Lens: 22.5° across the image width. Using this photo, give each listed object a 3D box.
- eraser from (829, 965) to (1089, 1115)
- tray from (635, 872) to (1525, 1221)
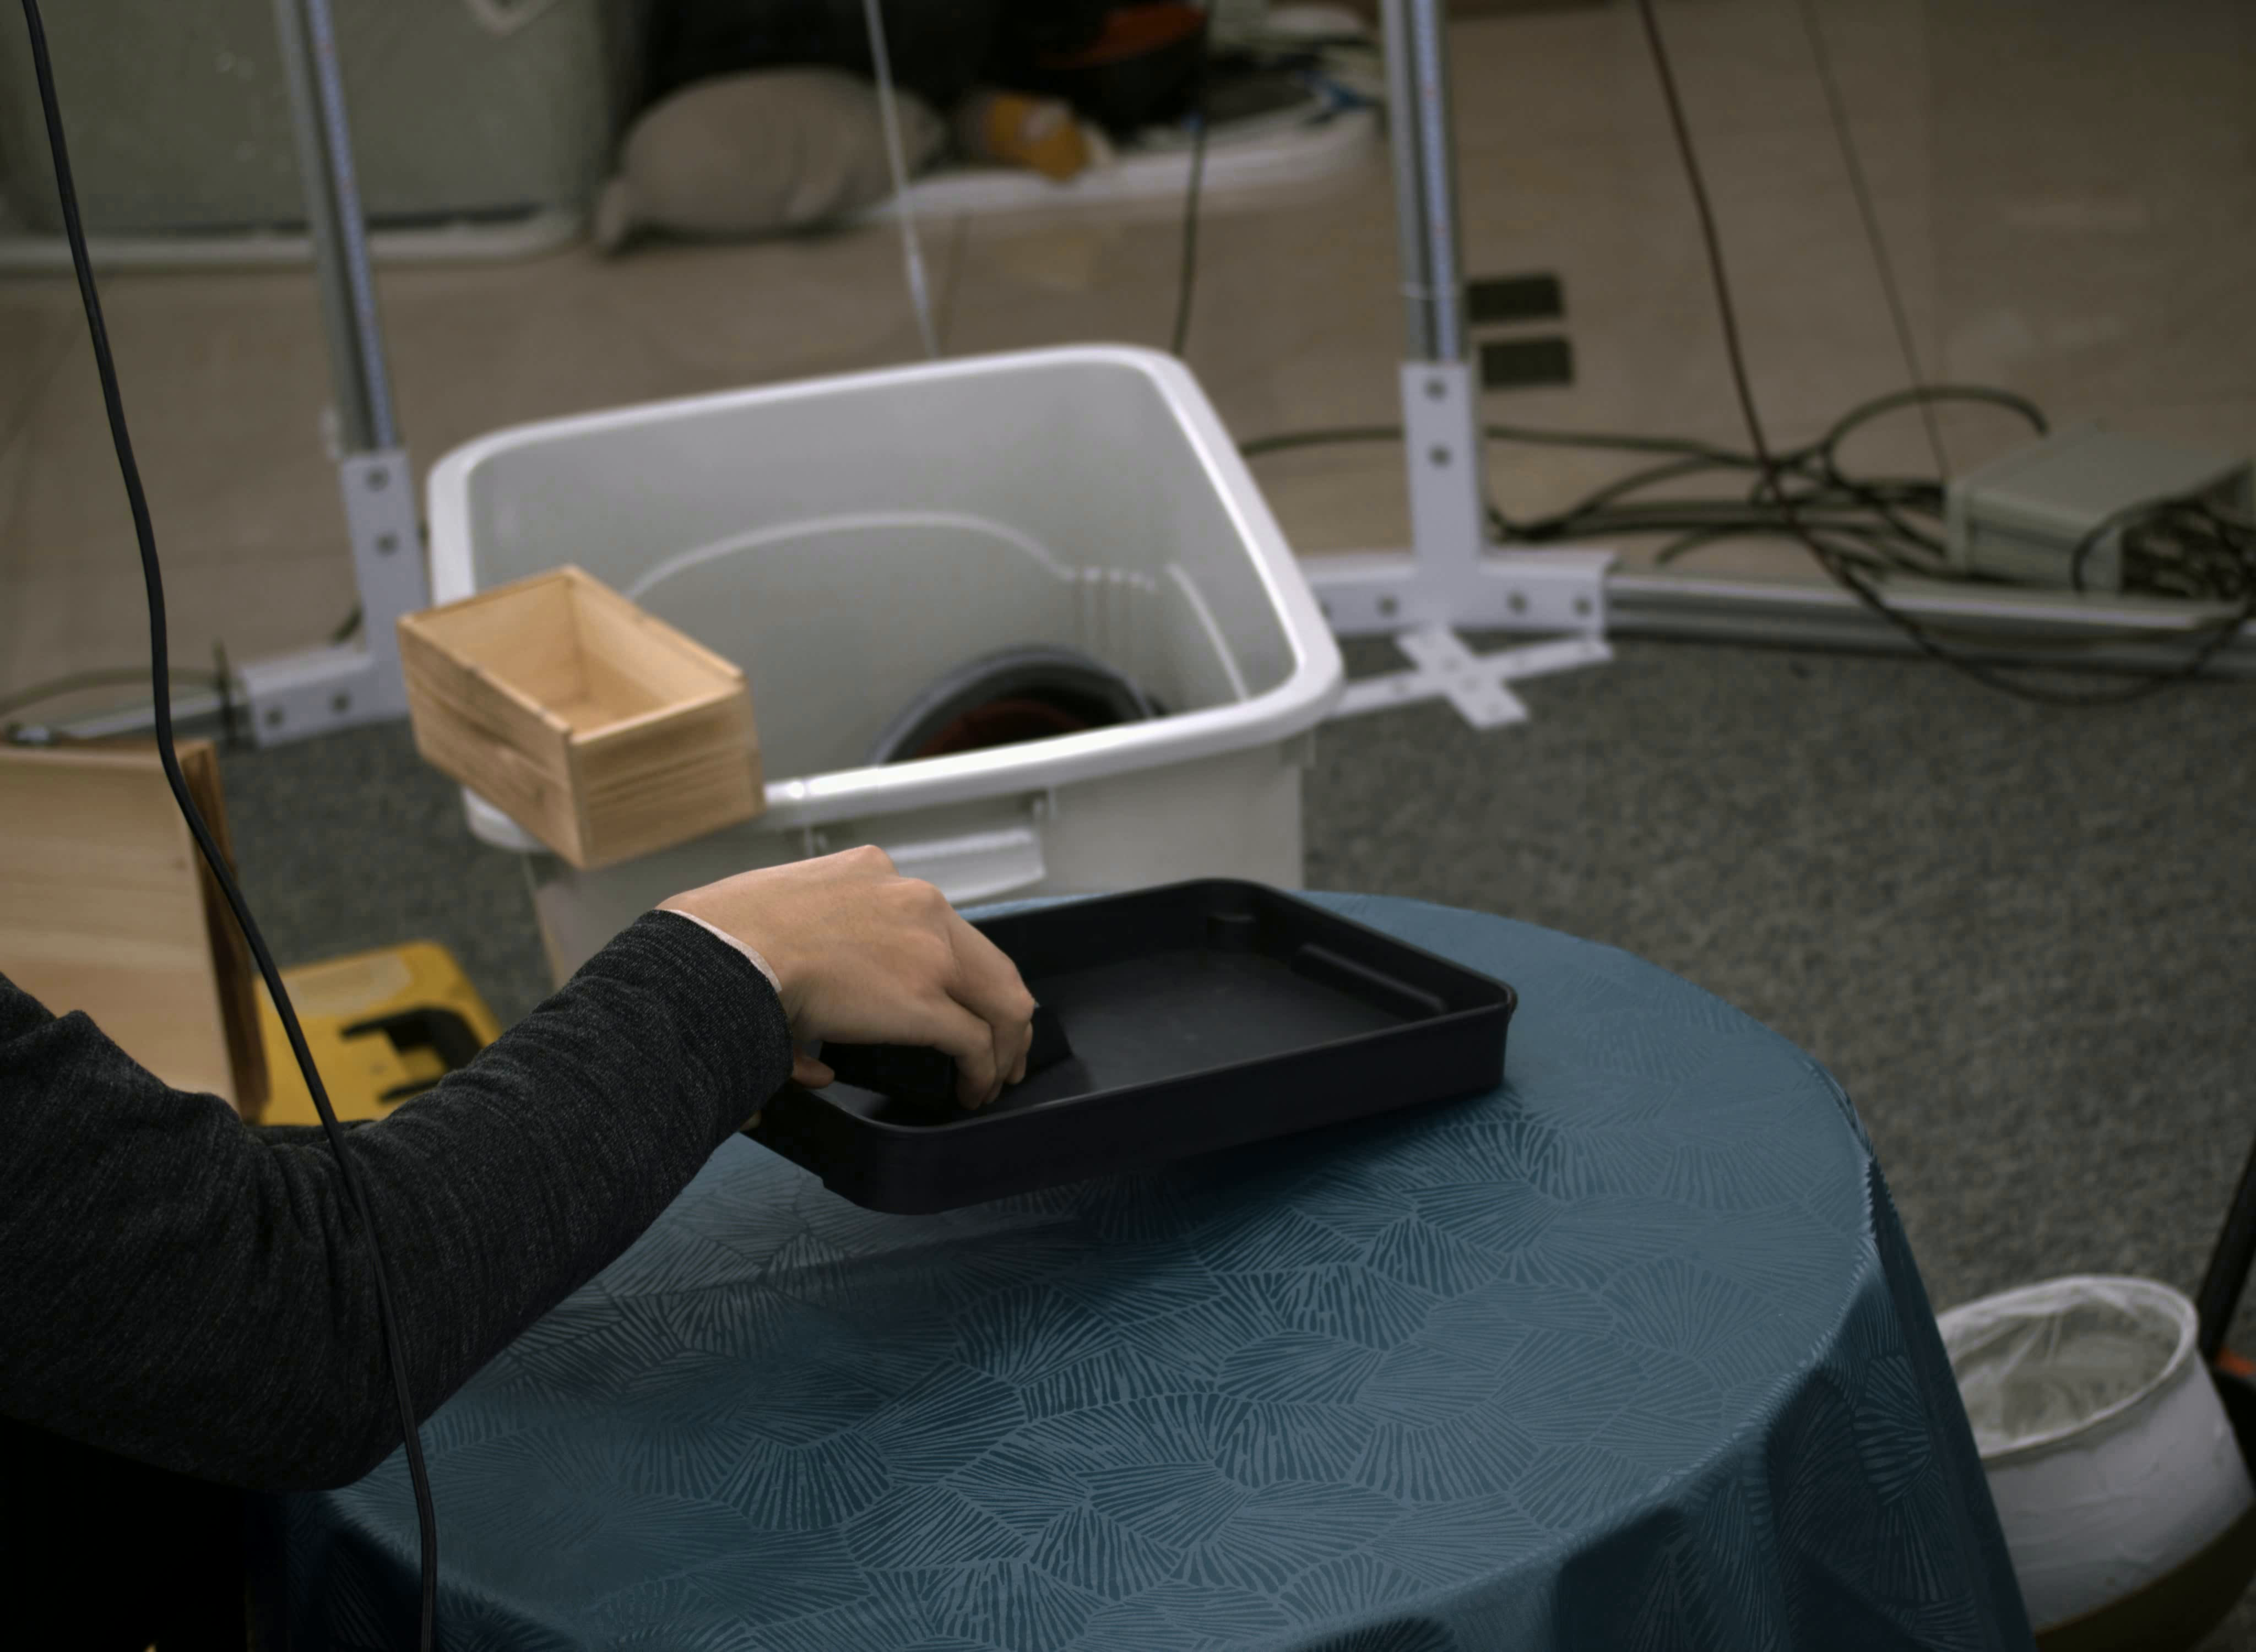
[{"bbox_3d":[-0.063,0.079,2.126,0.053,0.031,0.125,12,13,21],"label":"eraser"},{"bbox_3d":[-0.016,0.080,2.162,0.316,0.037,0.182,-12,23,-40],"label":"tray"}]
